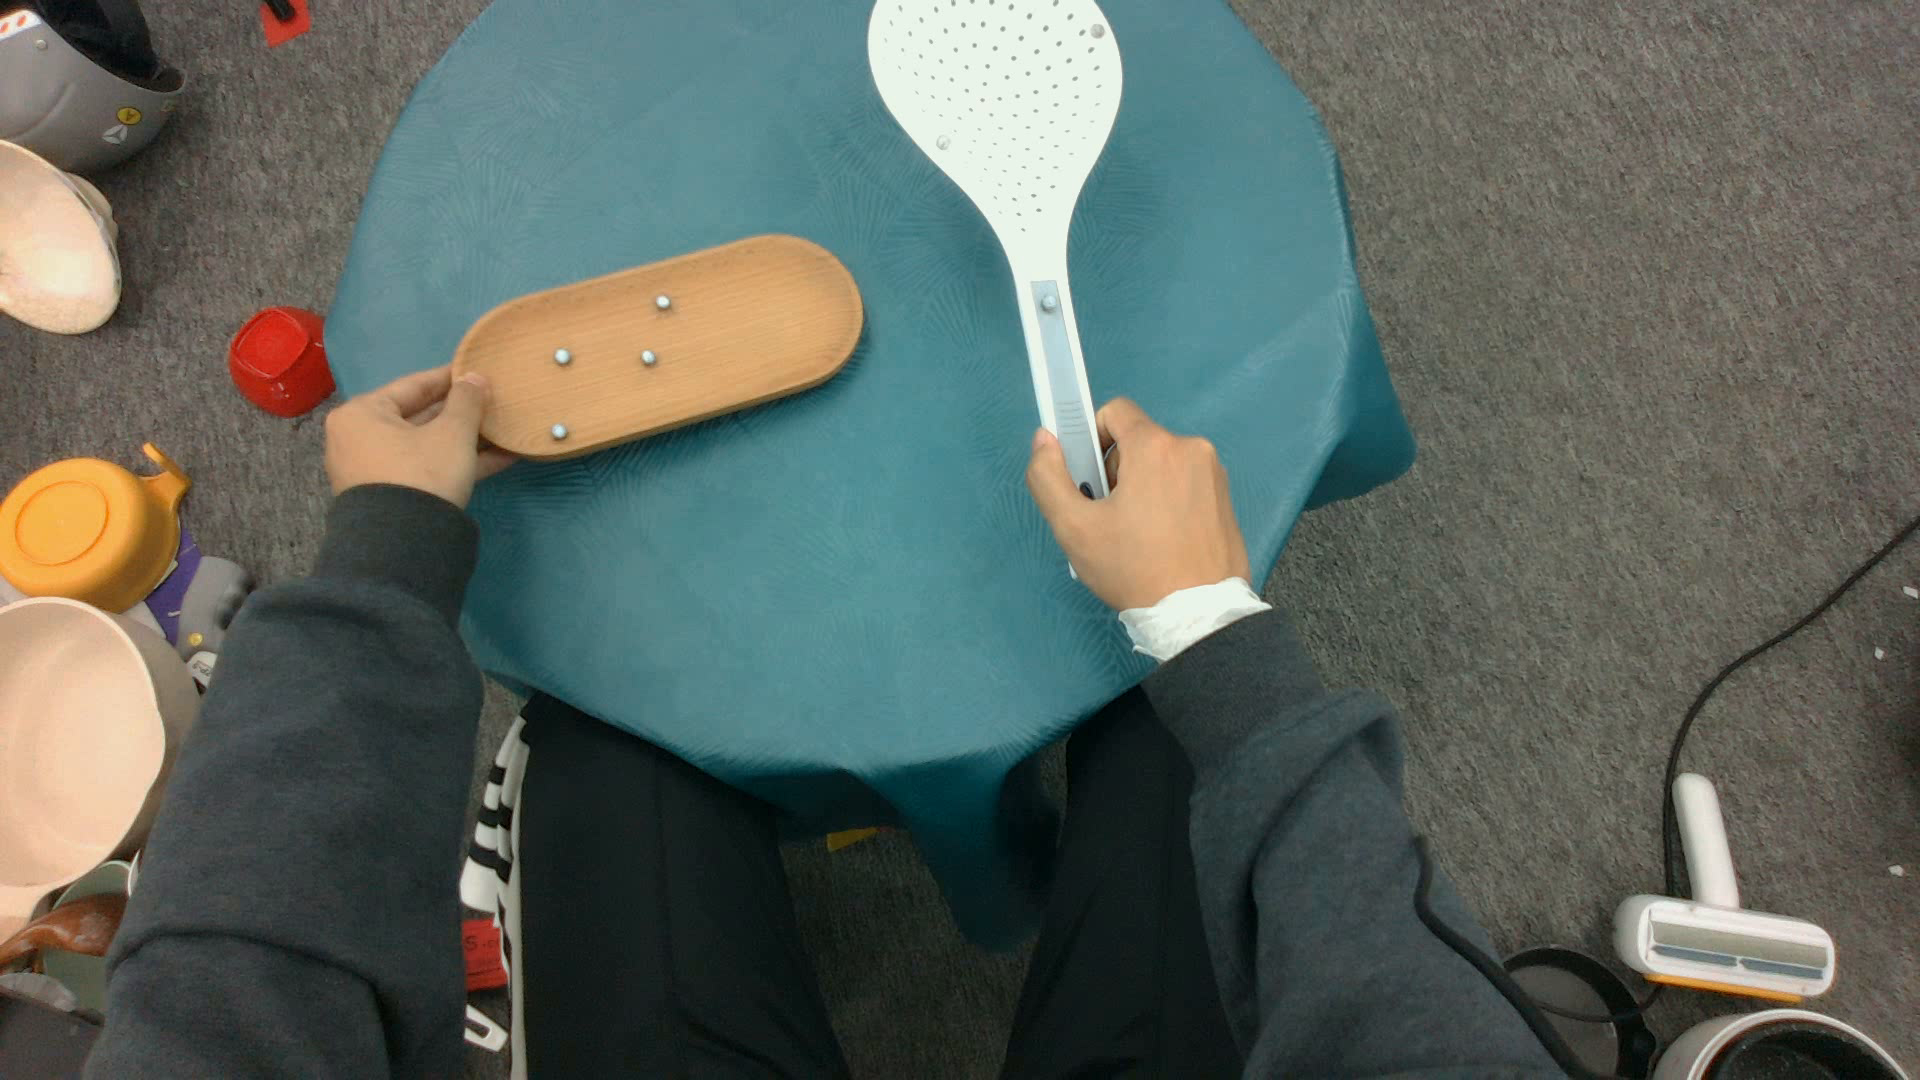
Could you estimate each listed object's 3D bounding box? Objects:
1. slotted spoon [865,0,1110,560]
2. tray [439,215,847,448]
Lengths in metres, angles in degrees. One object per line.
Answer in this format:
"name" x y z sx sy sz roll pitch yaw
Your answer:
"slotted spoon" 0.033 -0.159 0.725 0.136 0.045 0.350 -7 73 -13
"tray" -0.176 -0.119 0.781 0.231 0.020 0.102 -19 74 -15
